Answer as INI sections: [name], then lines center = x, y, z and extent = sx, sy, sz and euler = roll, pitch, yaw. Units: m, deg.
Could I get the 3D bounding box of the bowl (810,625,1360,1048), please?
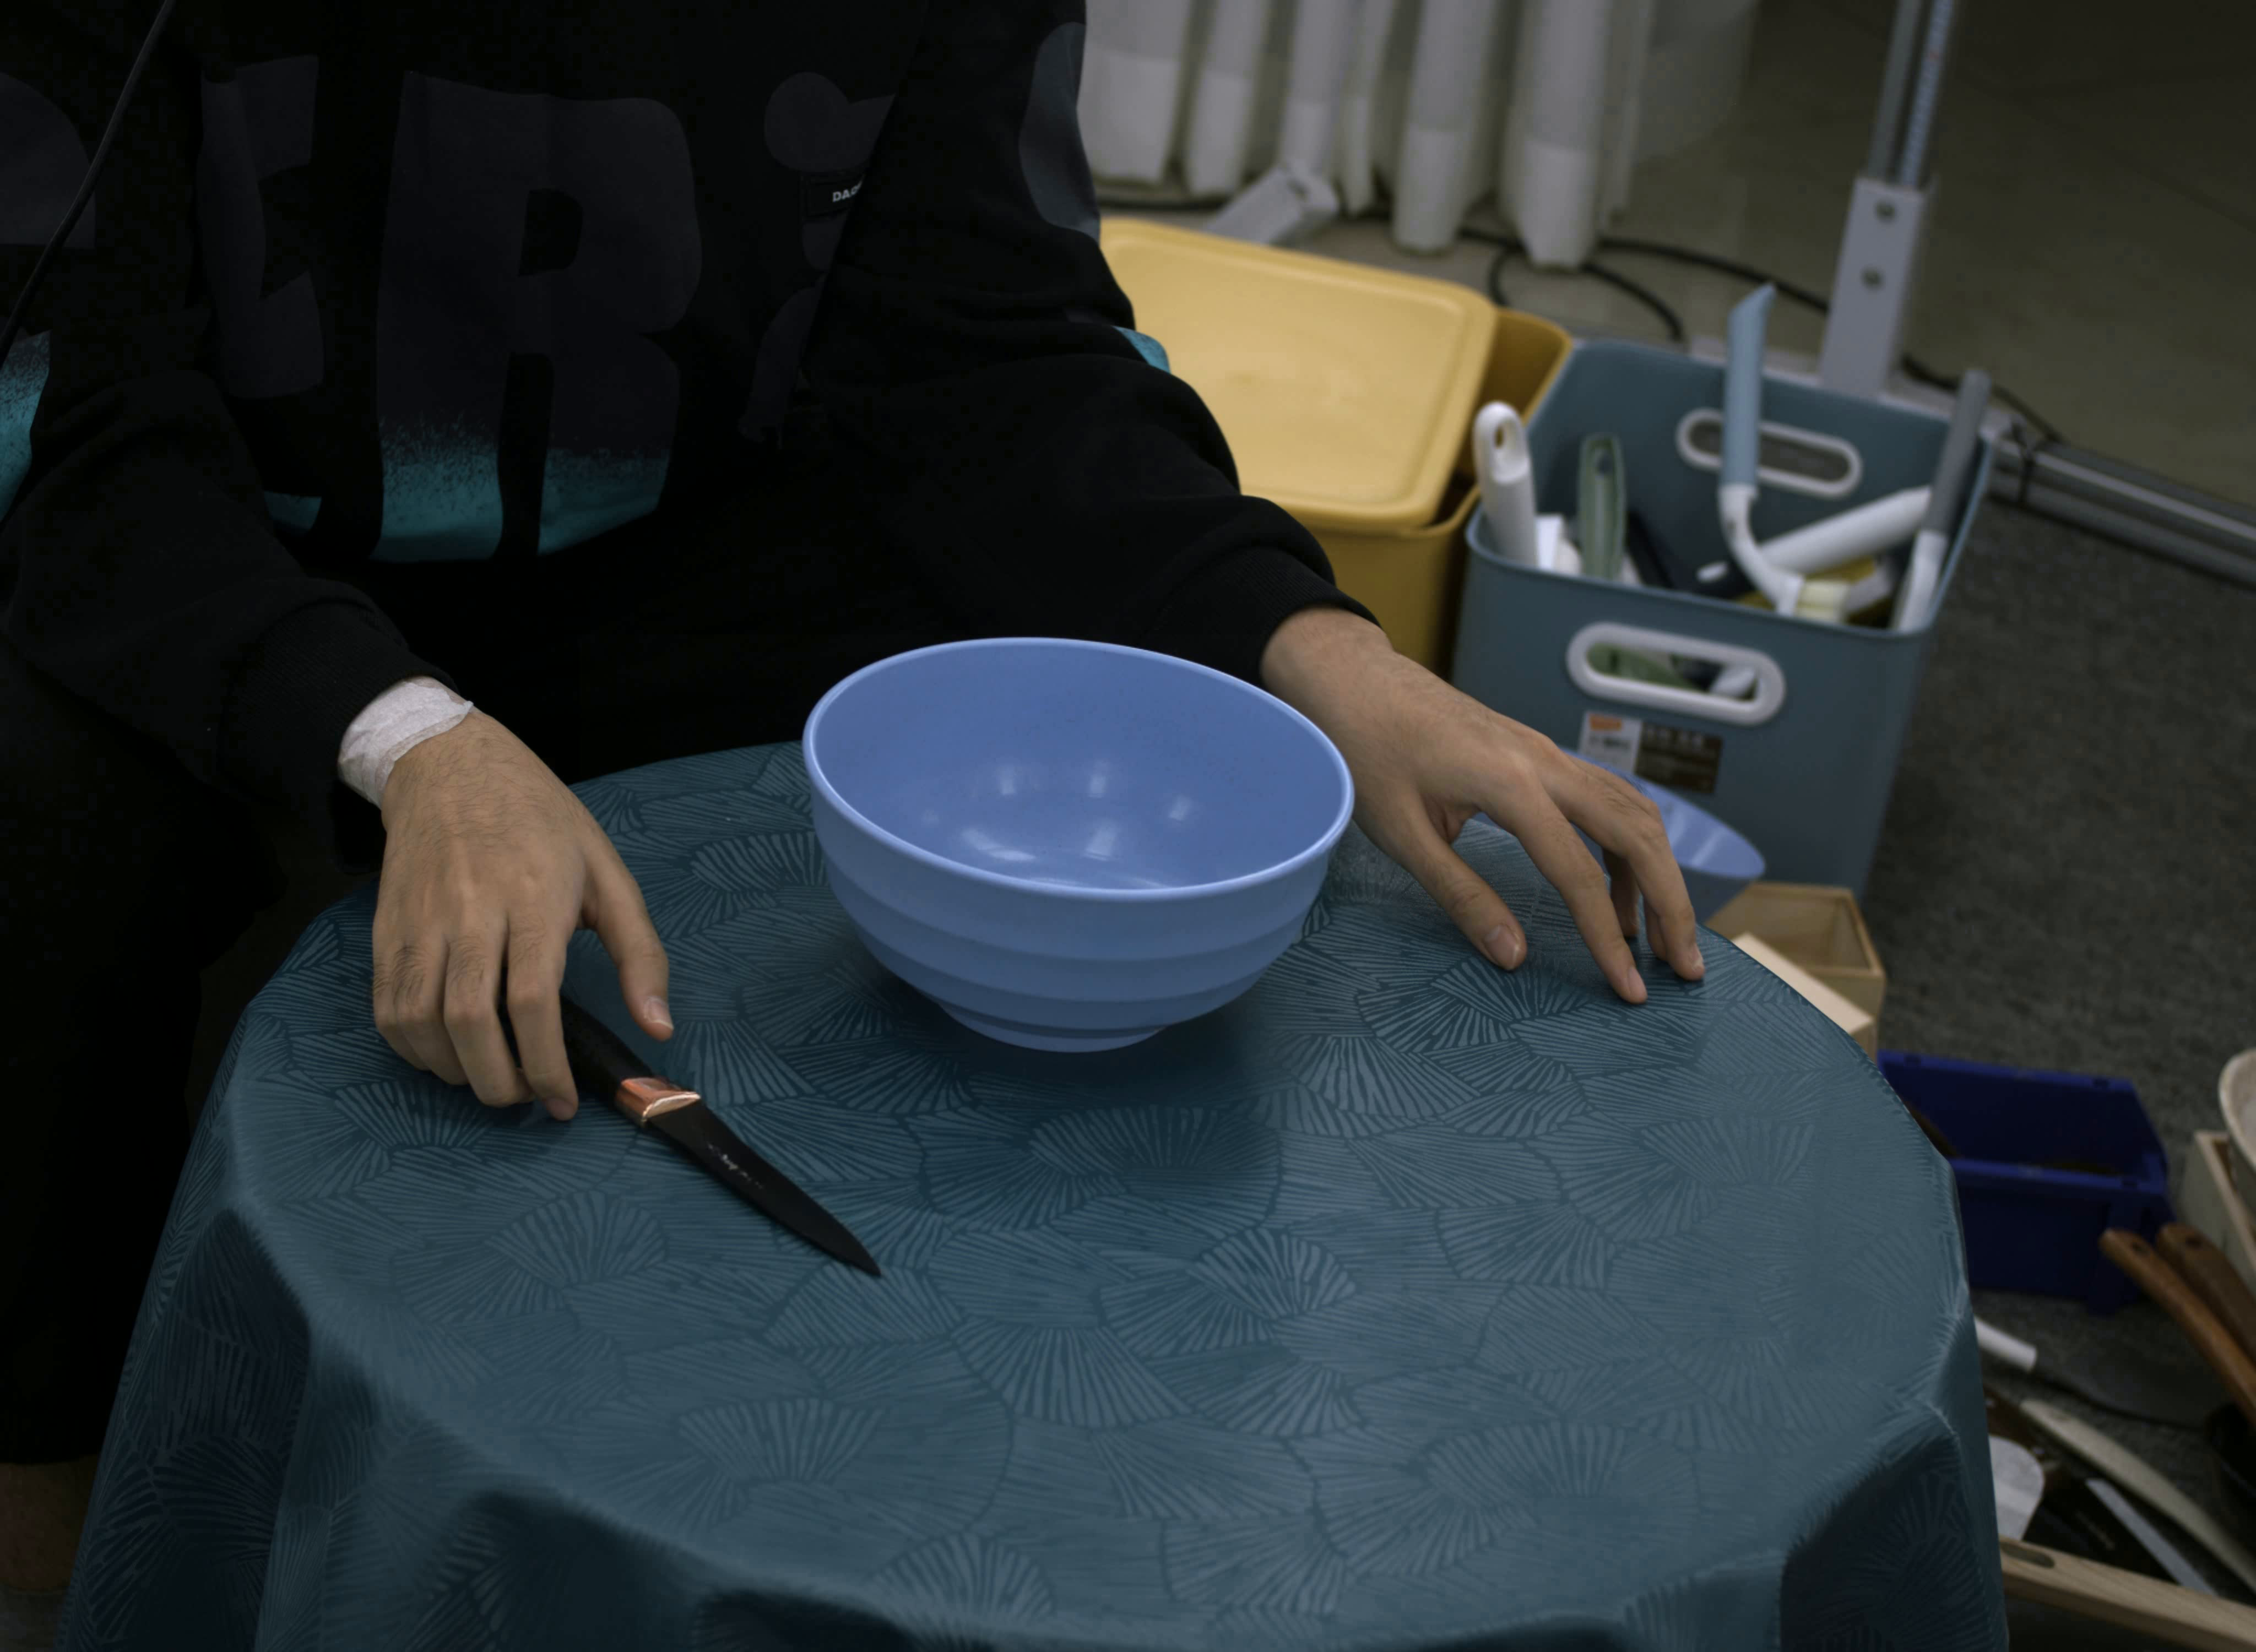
[bowl]
center = -0.021, 0.015, 1.899
extent = 0.196, 0.095, 0.198
euler = 7, 29, -4

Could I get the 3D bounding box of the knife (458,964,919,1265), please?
[knife]
center = -0.152, 0.098, 1.806
extent = 0.026, 0.017, 0.227
euler = -17, 36, -42
